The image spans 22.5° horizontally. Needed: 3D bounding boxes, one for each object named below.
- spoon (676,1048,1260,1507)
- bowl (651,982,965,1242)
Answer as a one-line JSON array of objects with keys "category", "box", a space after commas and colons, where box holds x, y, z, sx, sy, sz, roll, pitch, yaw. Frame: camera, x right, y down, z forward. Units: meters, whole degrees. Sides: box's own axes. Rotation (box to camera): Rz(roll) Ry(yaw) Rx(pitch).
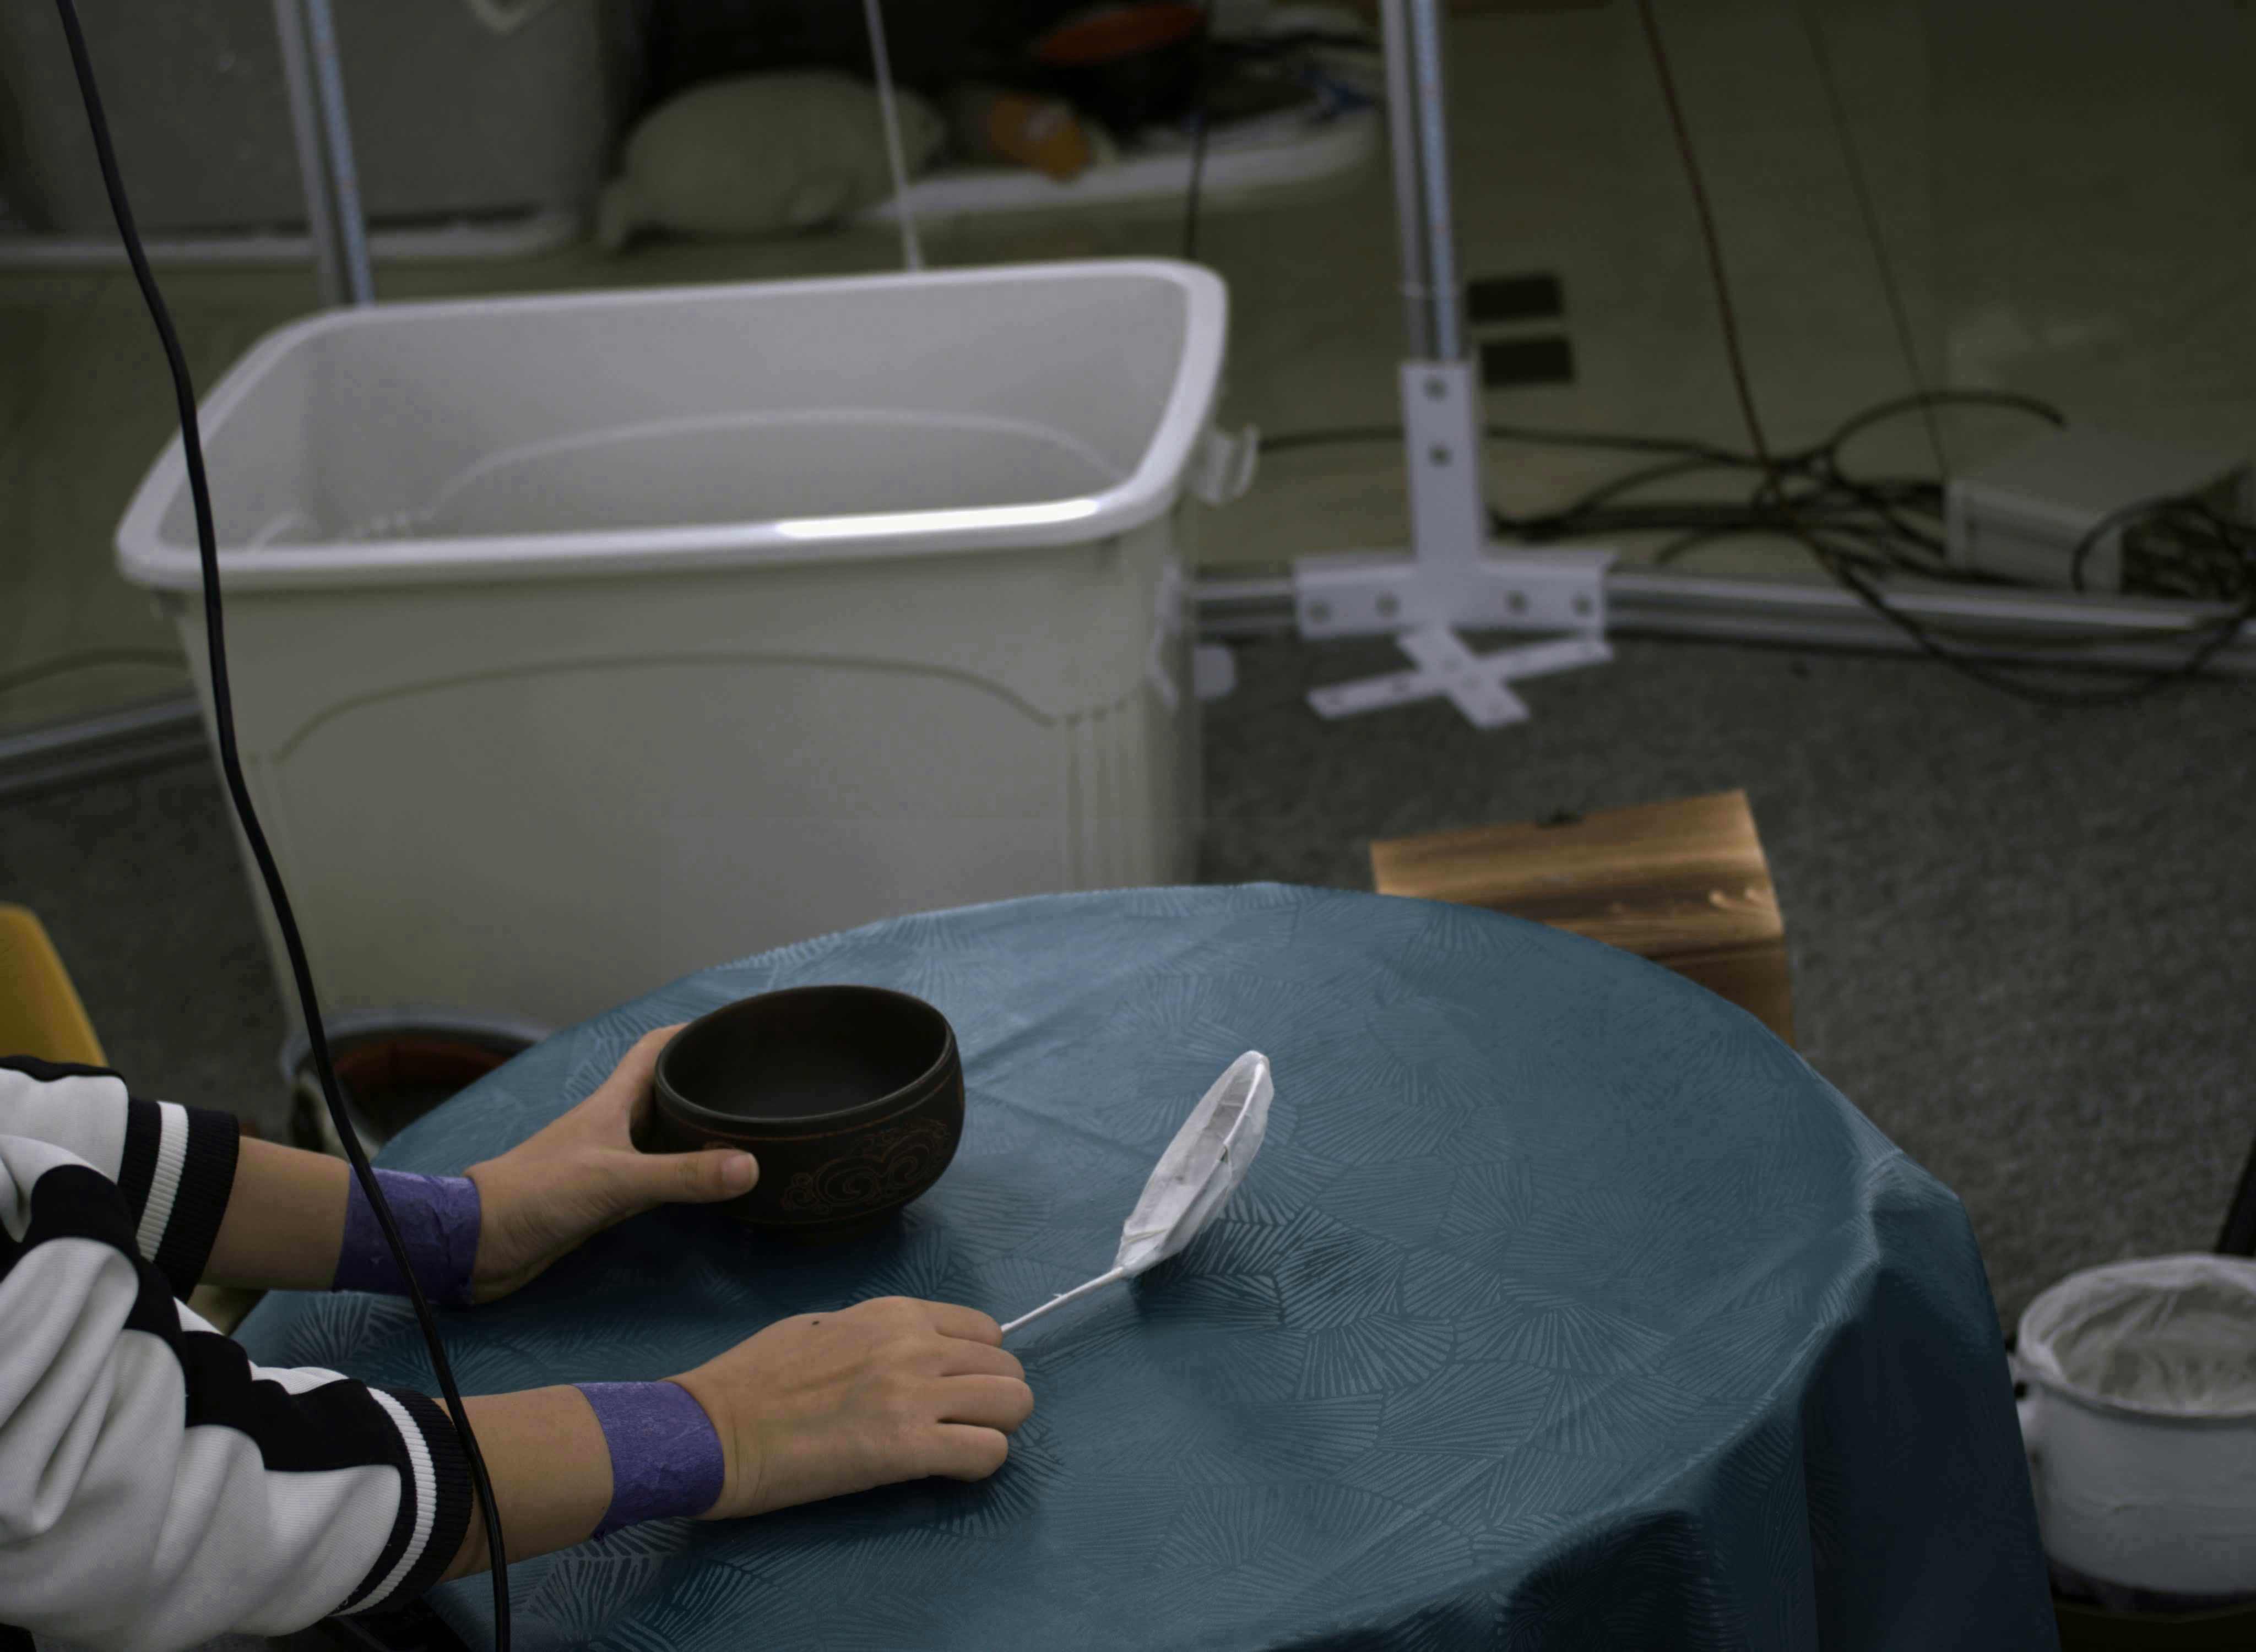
[{"category": "spoon", "box": [-0.059, 0.163, 2.048, 0.275, 0.059, 0.102, -25, -12, -26]}, {"category": "bowl", "box": [-0.119, 0.114, 2.143, 0.118, 0.071, 0.116, -5, 25, 3]}]
